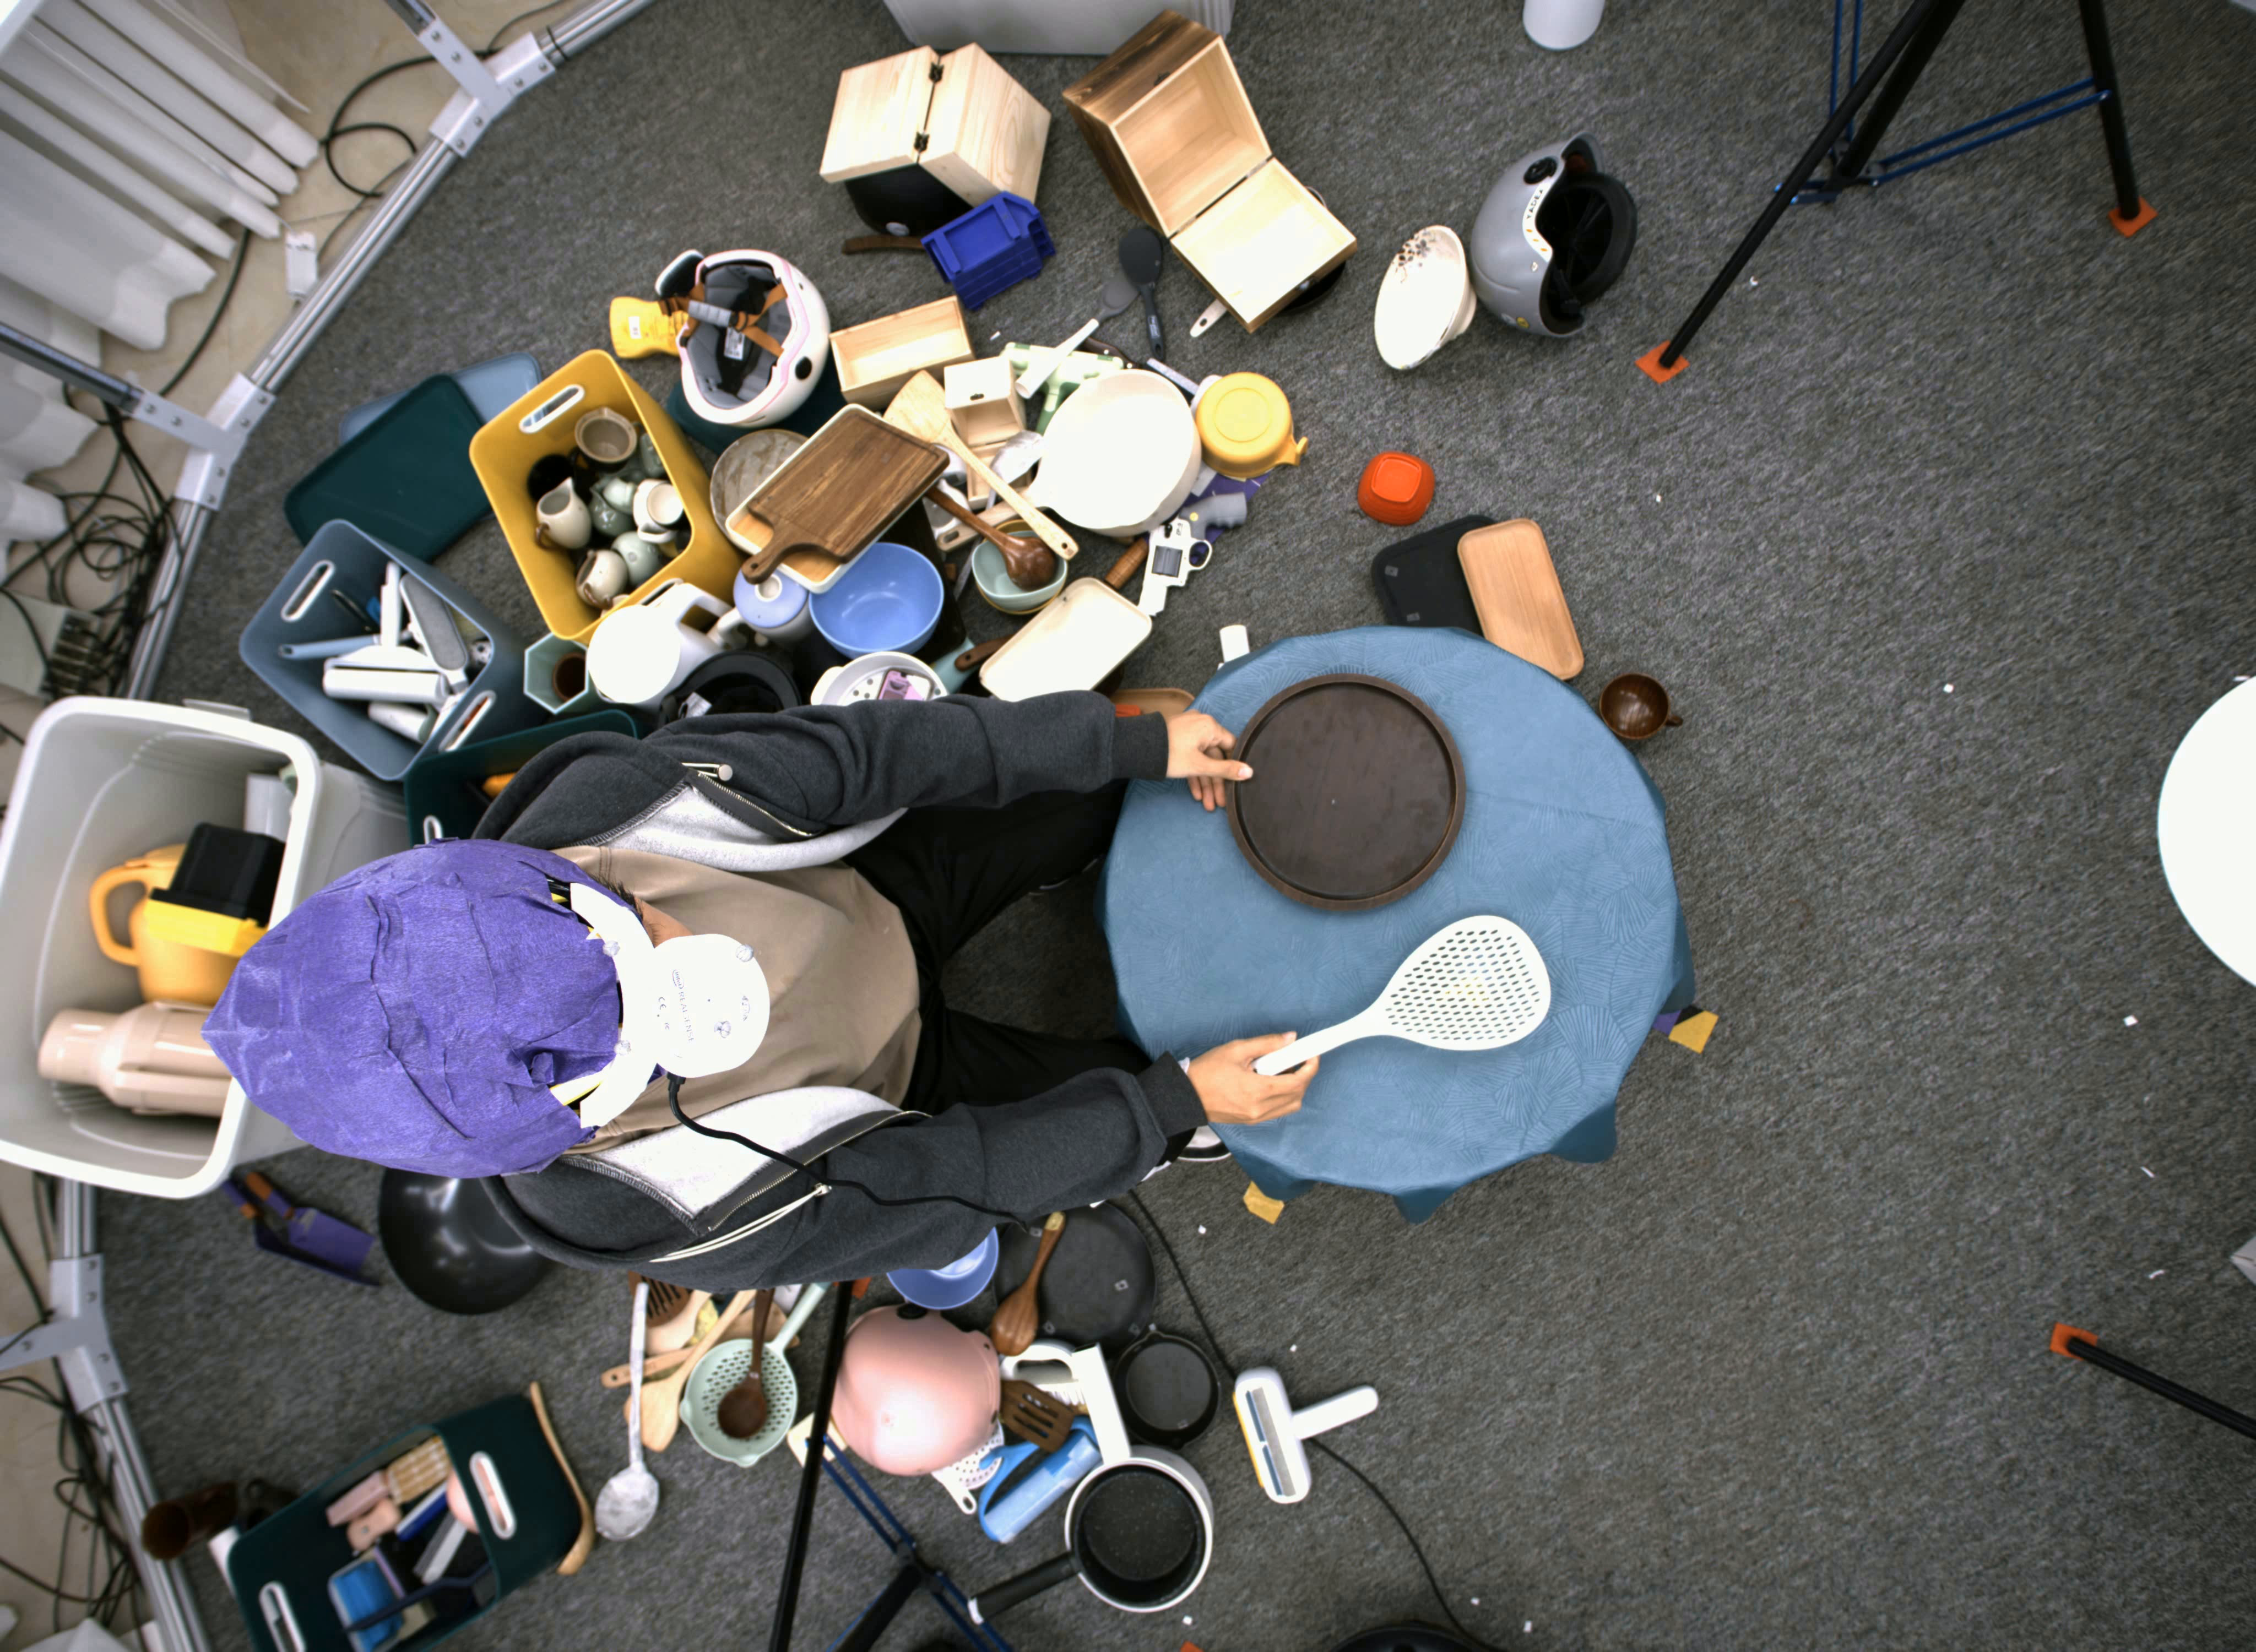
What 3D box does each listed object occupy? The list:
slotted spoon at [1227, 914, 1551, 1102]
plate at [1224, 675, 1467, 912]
[{"bbox_3d":[0.260,0.202,1.418,0.348,0.051,0.135,-22,72,1],"label":"slotted spoon"},{"bbox_3d":[0.229,-0.036,1.456,0.255,0.029,0.254,0,89,7],"label":"plate"}]
